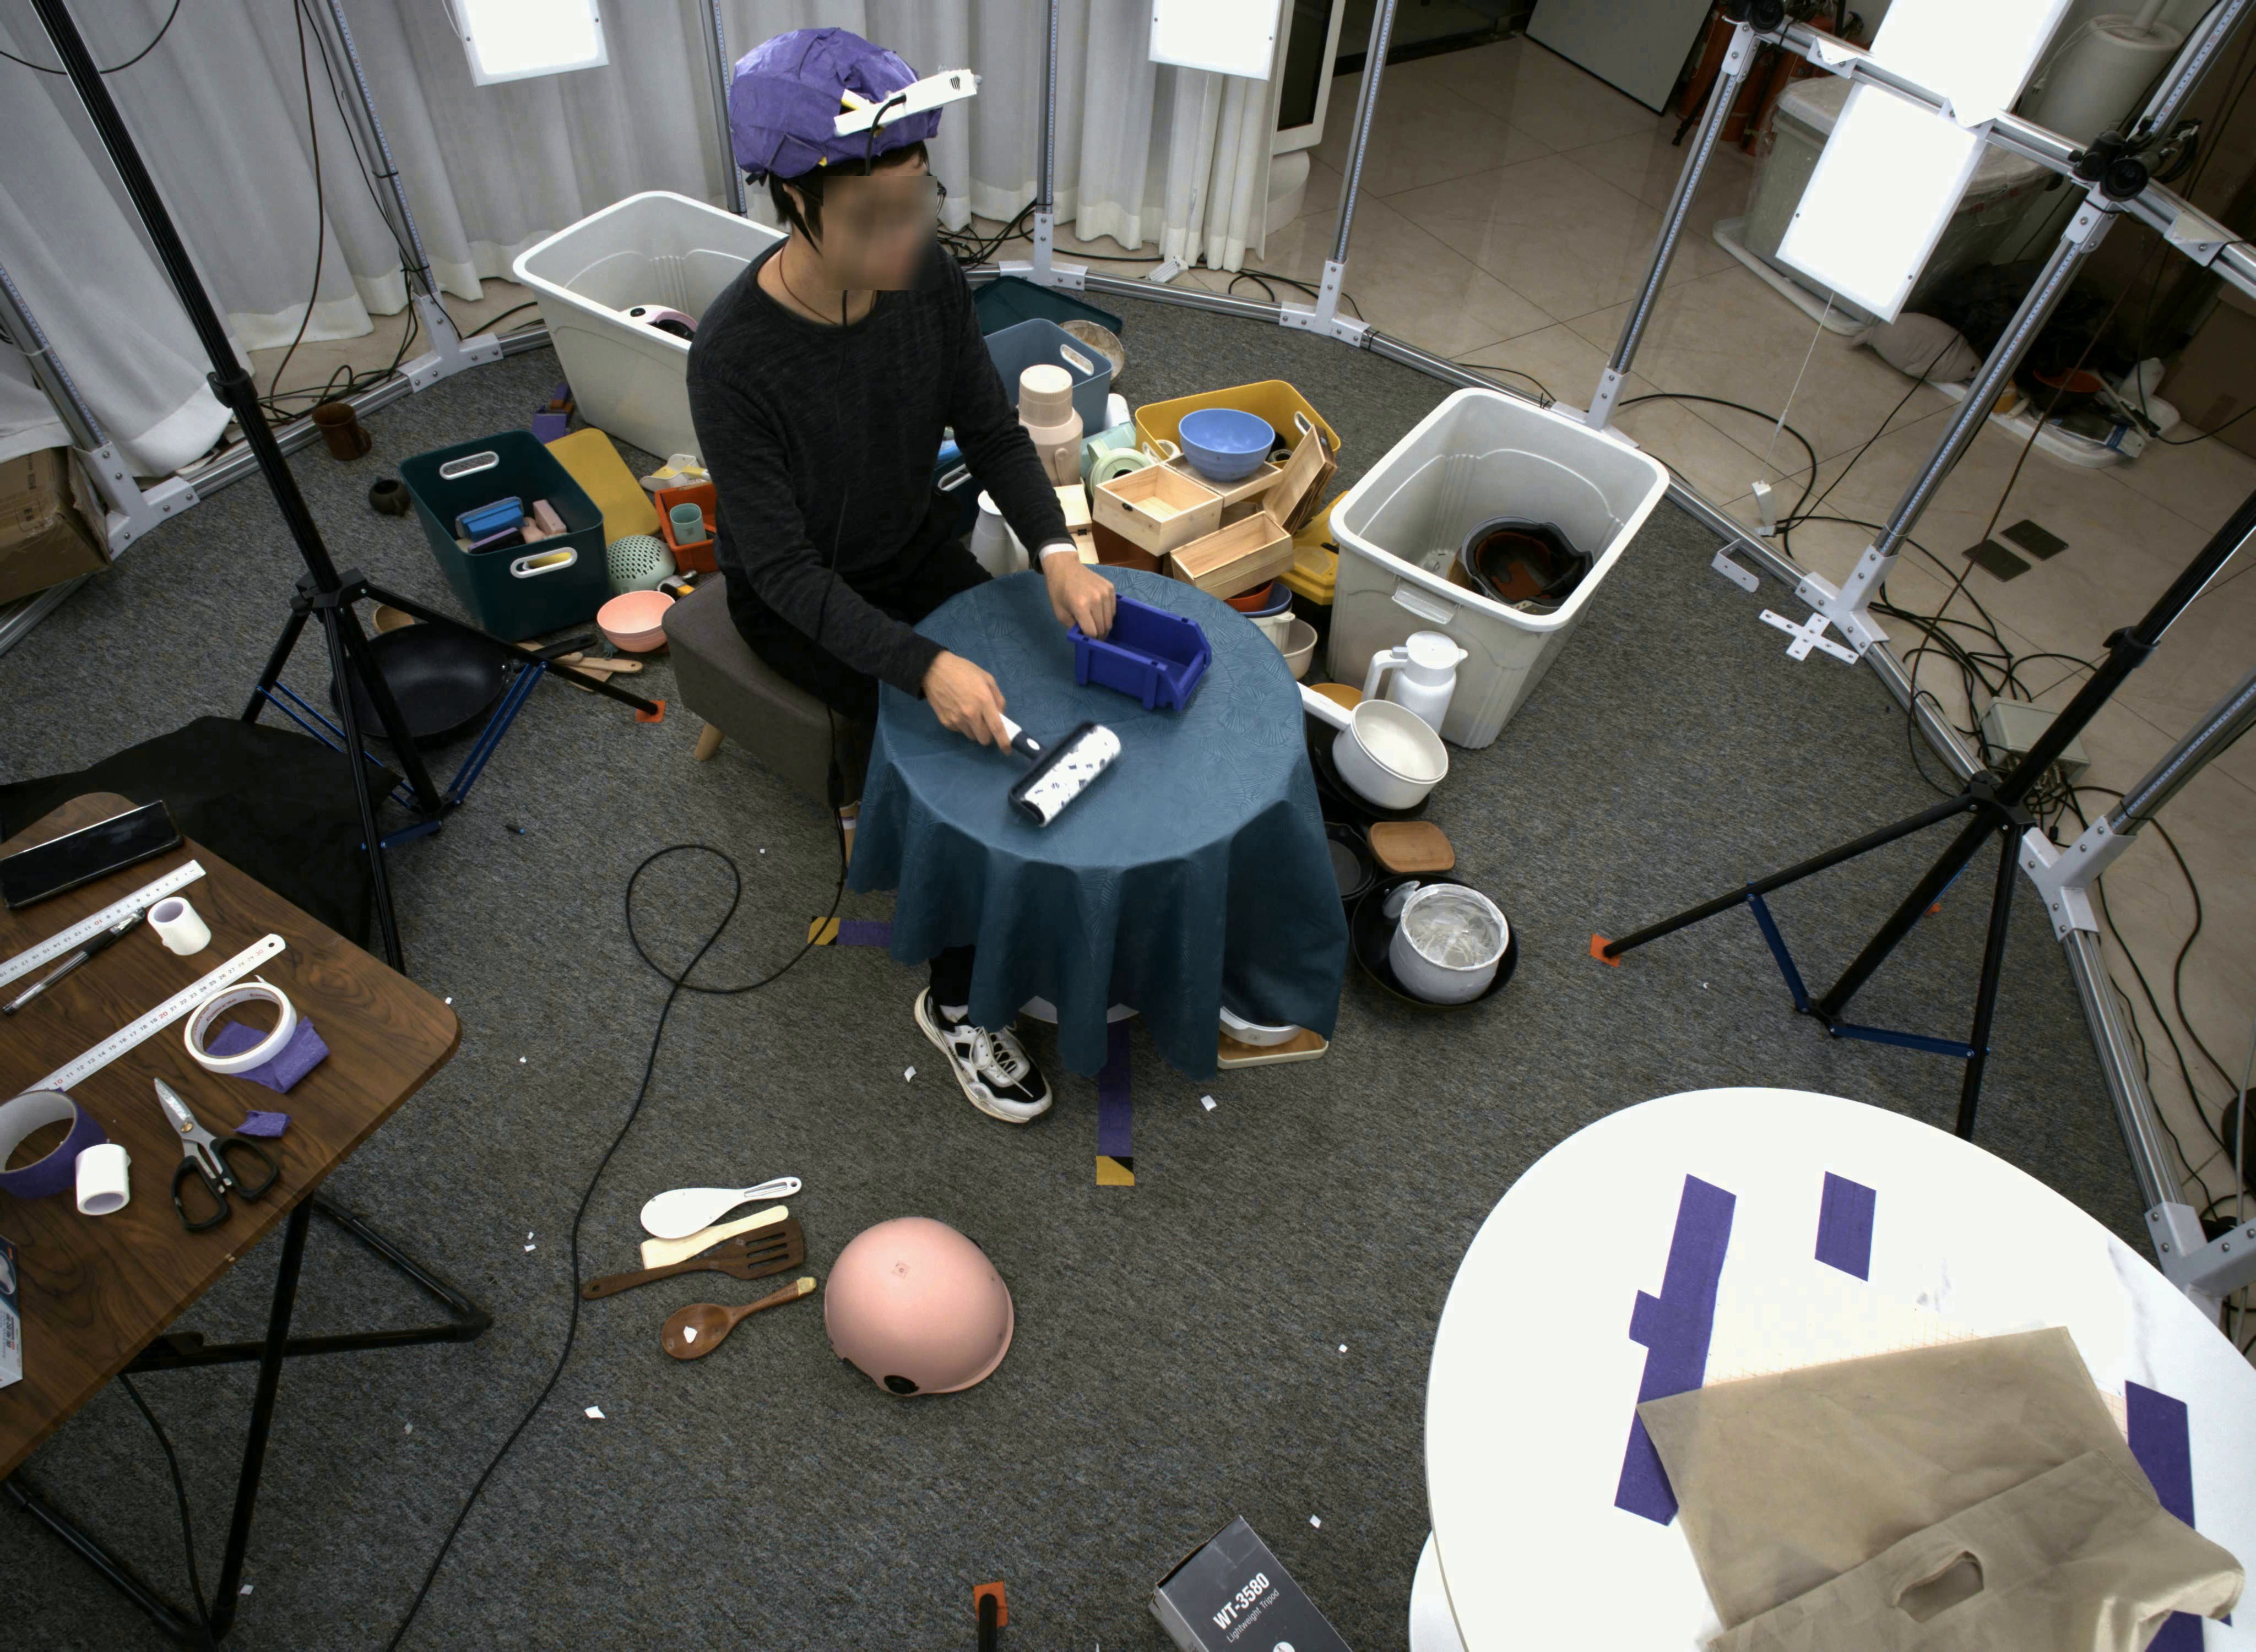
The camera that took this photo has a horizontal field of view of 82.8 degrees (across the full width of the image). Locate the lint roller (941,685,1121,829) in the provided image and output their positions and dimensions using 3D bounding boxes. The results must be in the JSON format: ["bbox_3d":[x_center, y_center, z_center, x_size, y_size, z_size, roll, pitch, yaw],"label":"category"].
[{"bbox_3d":[-0.154,-0.118,1.713,0.249,0.049,0.178,36,57,15],"label":"lint roller"}]

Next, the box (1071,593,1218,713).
[{"bbox_3d":[0.027,-0.244,1.829,0.180,0.080,0.126,21,49,17],"label":"box"}]
